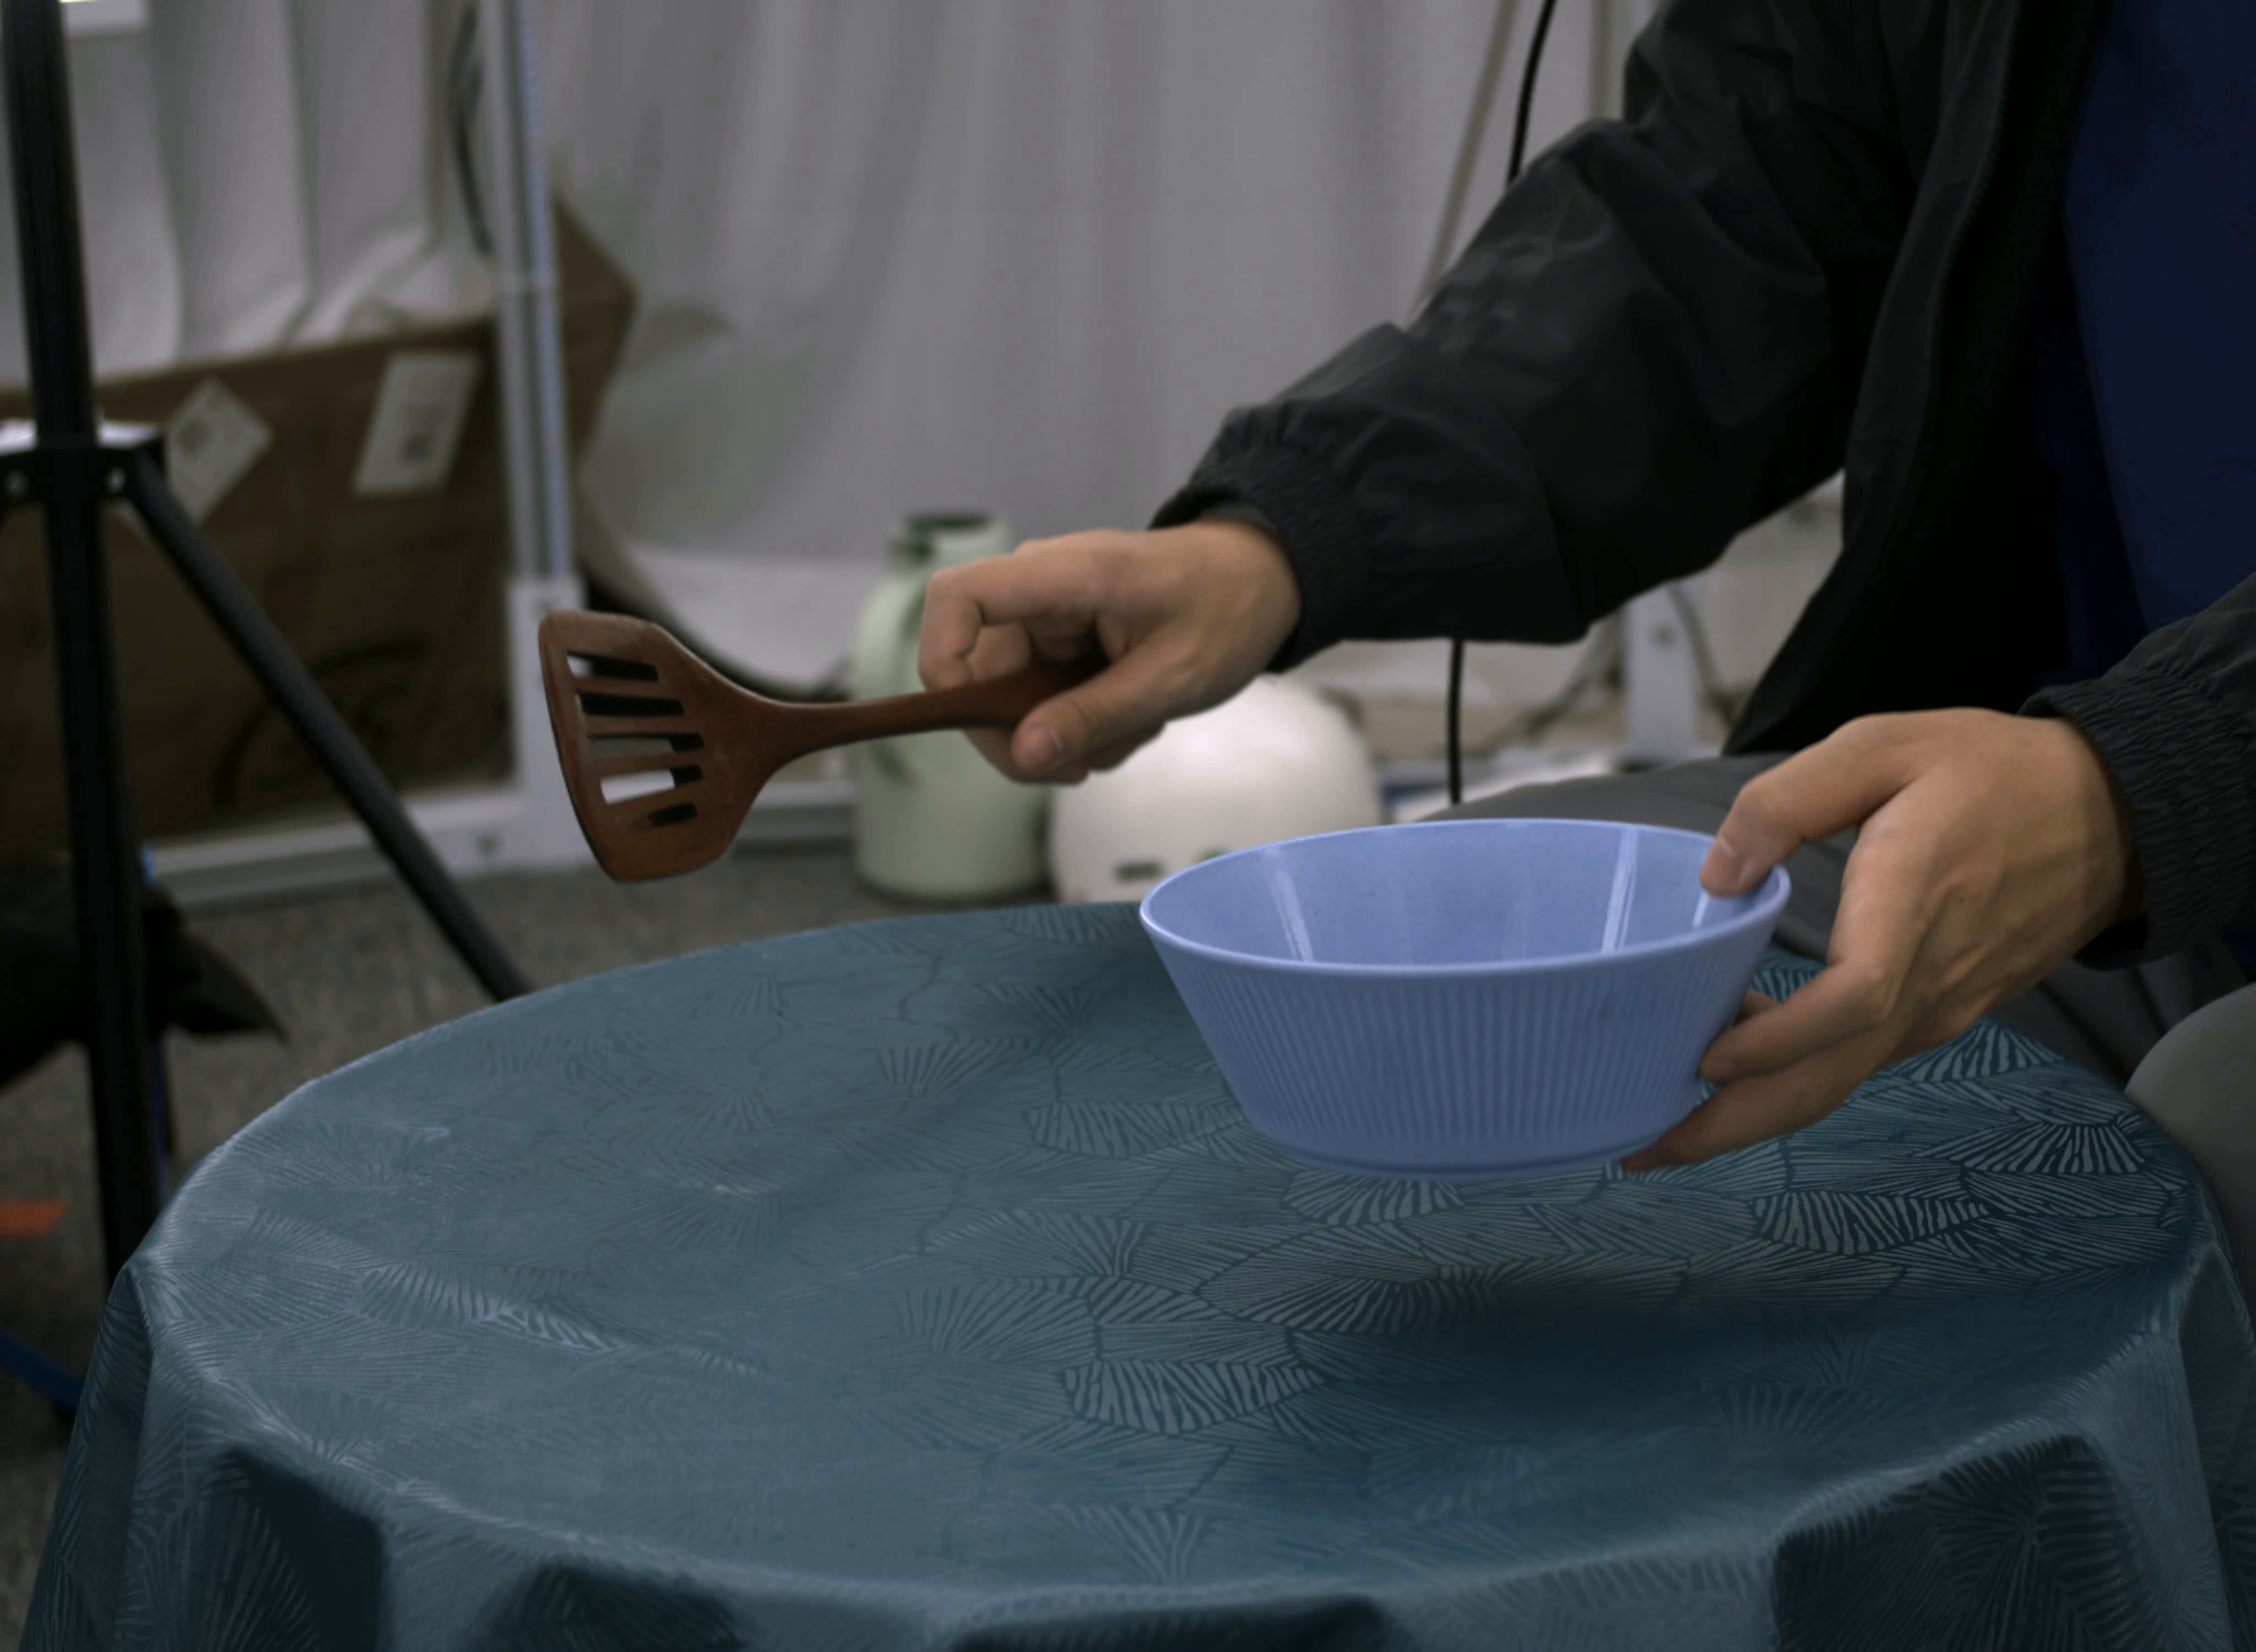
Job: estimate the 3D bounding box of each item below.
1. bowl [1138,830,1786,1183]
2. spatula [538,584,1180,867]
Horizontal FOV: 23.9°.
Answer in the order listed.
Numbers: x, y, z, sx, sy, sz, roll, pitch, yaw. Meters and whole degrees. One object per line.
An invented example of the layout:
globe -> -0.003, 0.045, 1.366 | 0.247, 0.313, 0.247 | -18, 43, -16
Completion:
bowl -> 0.090, 0.050, 1.435 | 0.175, 0.070, 0.177 | -2, 12, -1
spatula -> -0.079, -0.034, 1.699 | 0.024, 0.086, 0.378 | -19, -7, 29
